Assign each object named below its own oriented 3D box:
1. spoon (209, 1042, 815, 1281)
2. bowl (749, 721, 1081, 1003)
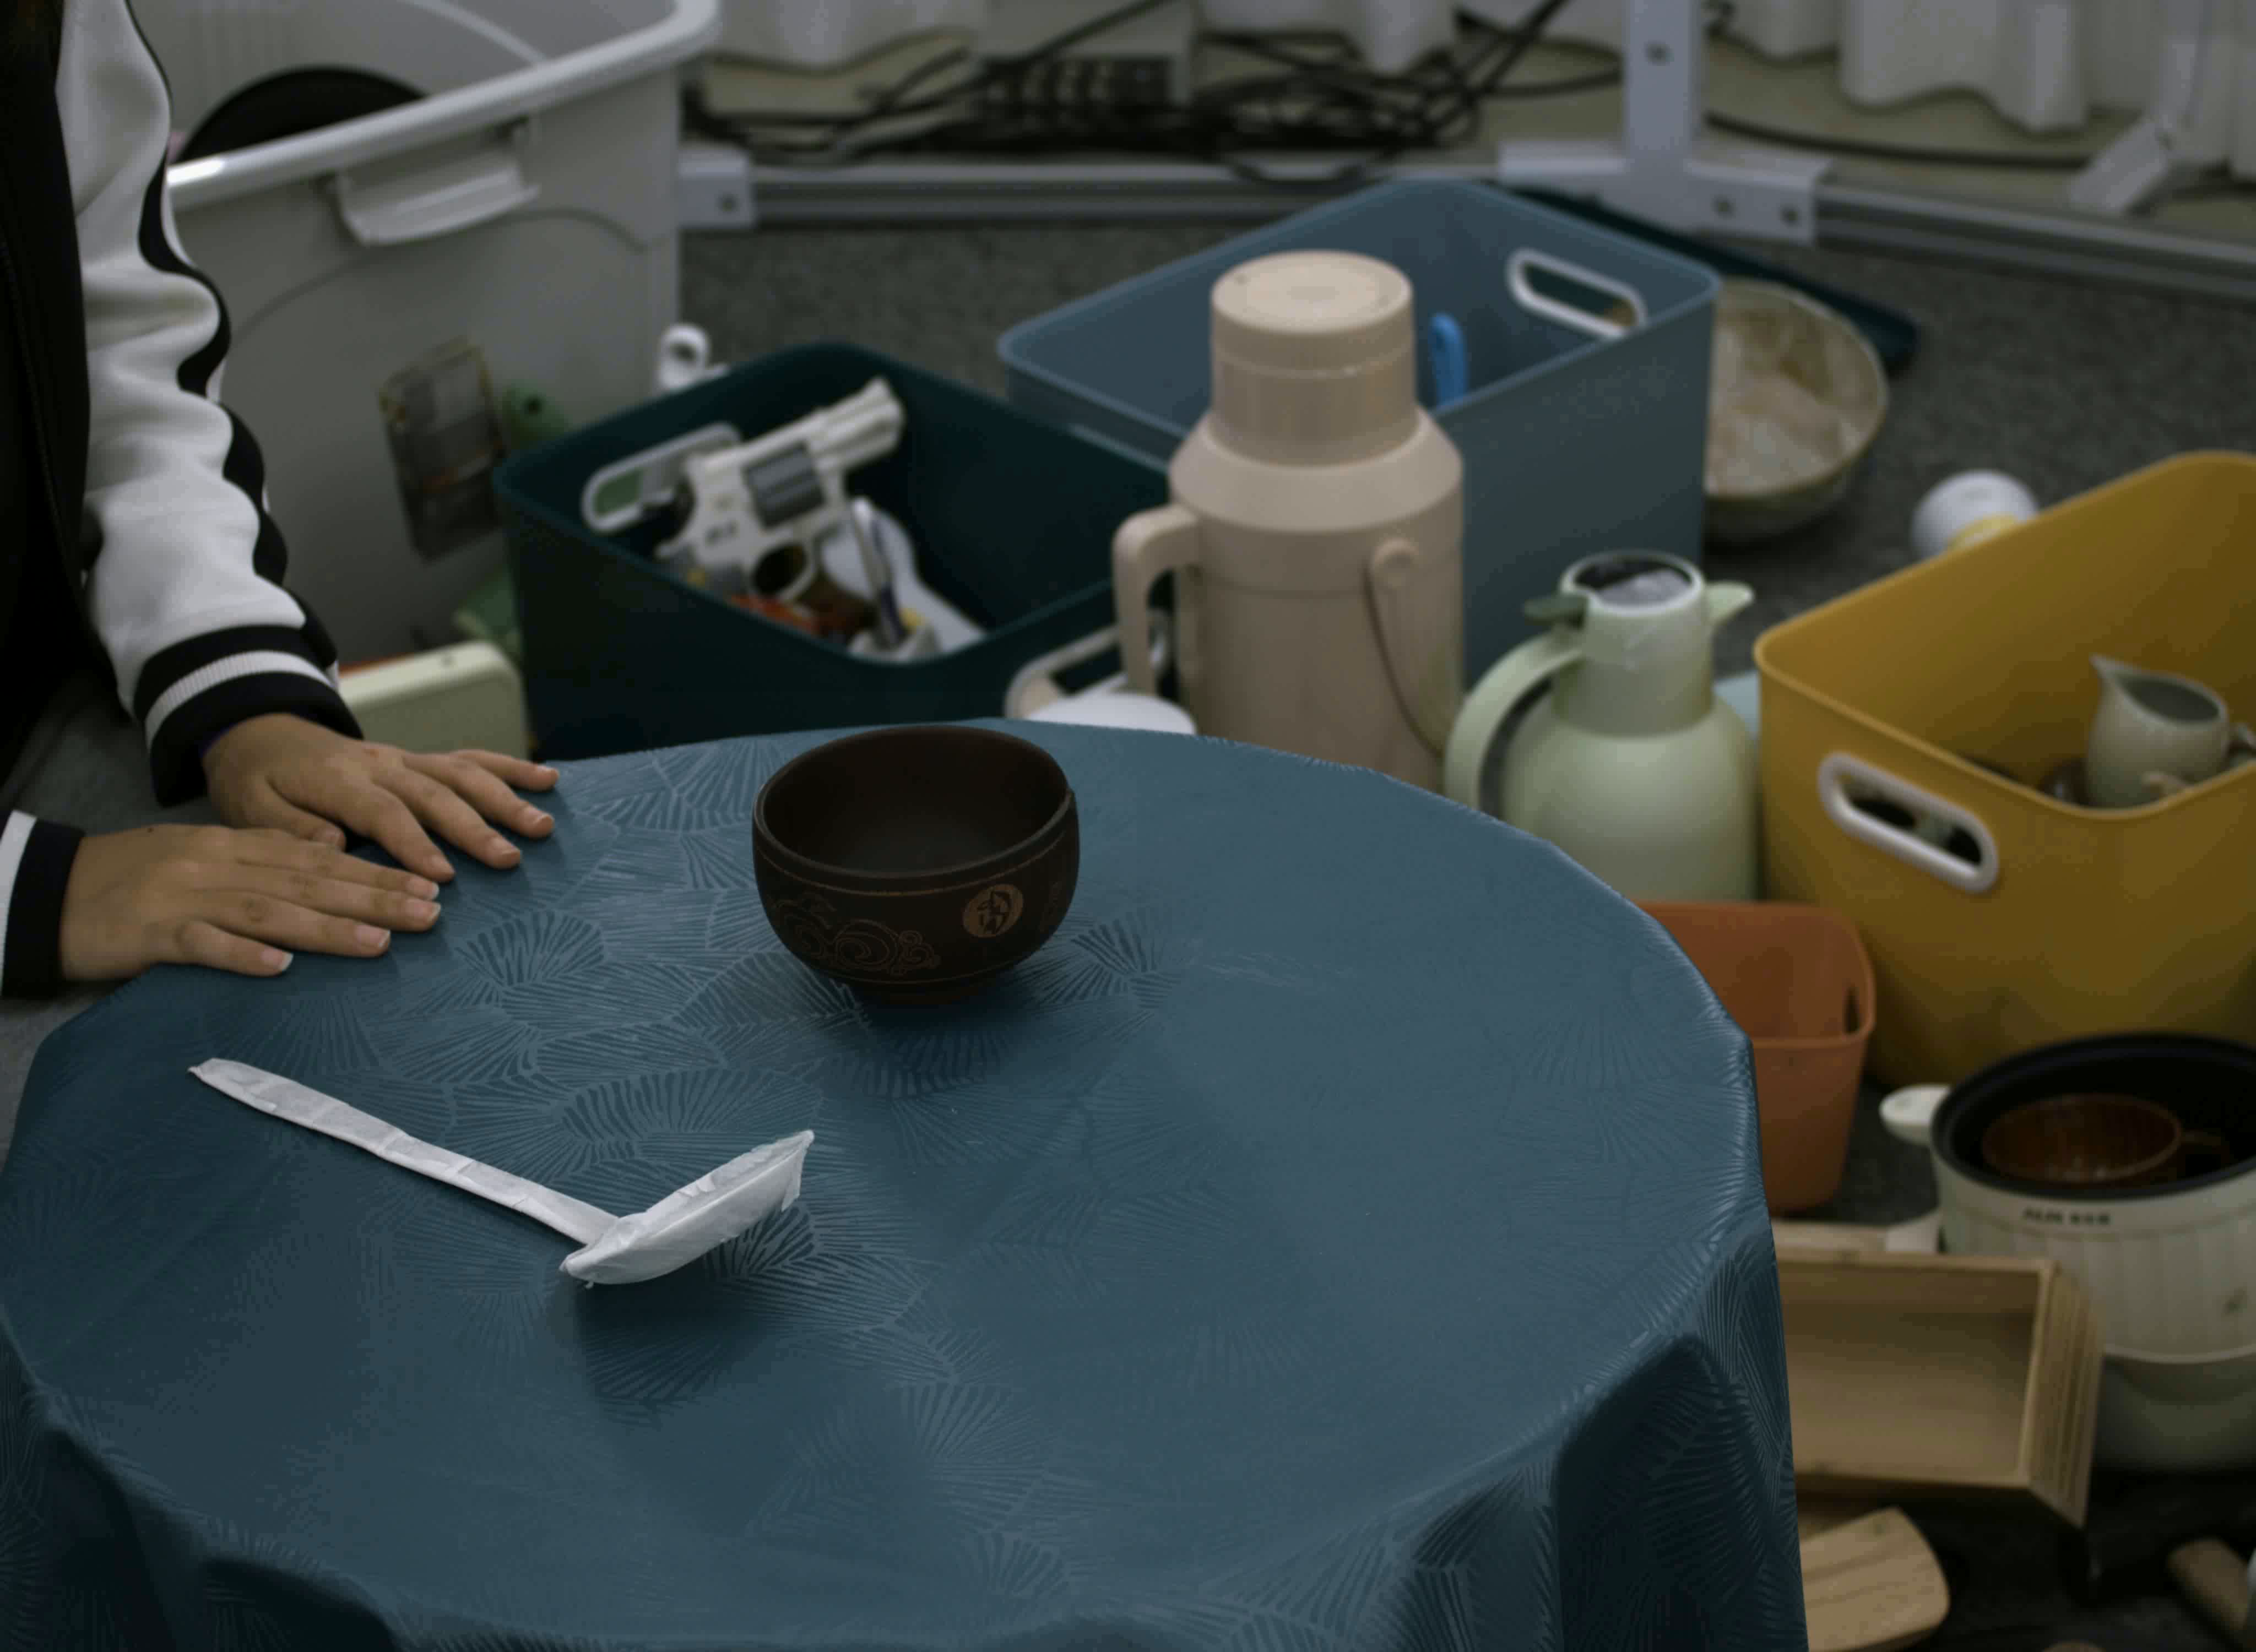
[{"bbox_3d":[-0.214,0.093,1.876,0.276,0.059,0.102,21,32,38],"label":"spoon"},{"bbox_3d":[-0.074,0.019,1.988,0.117,0.069,0.120,-2,27,2],"label":"bowl"}]
